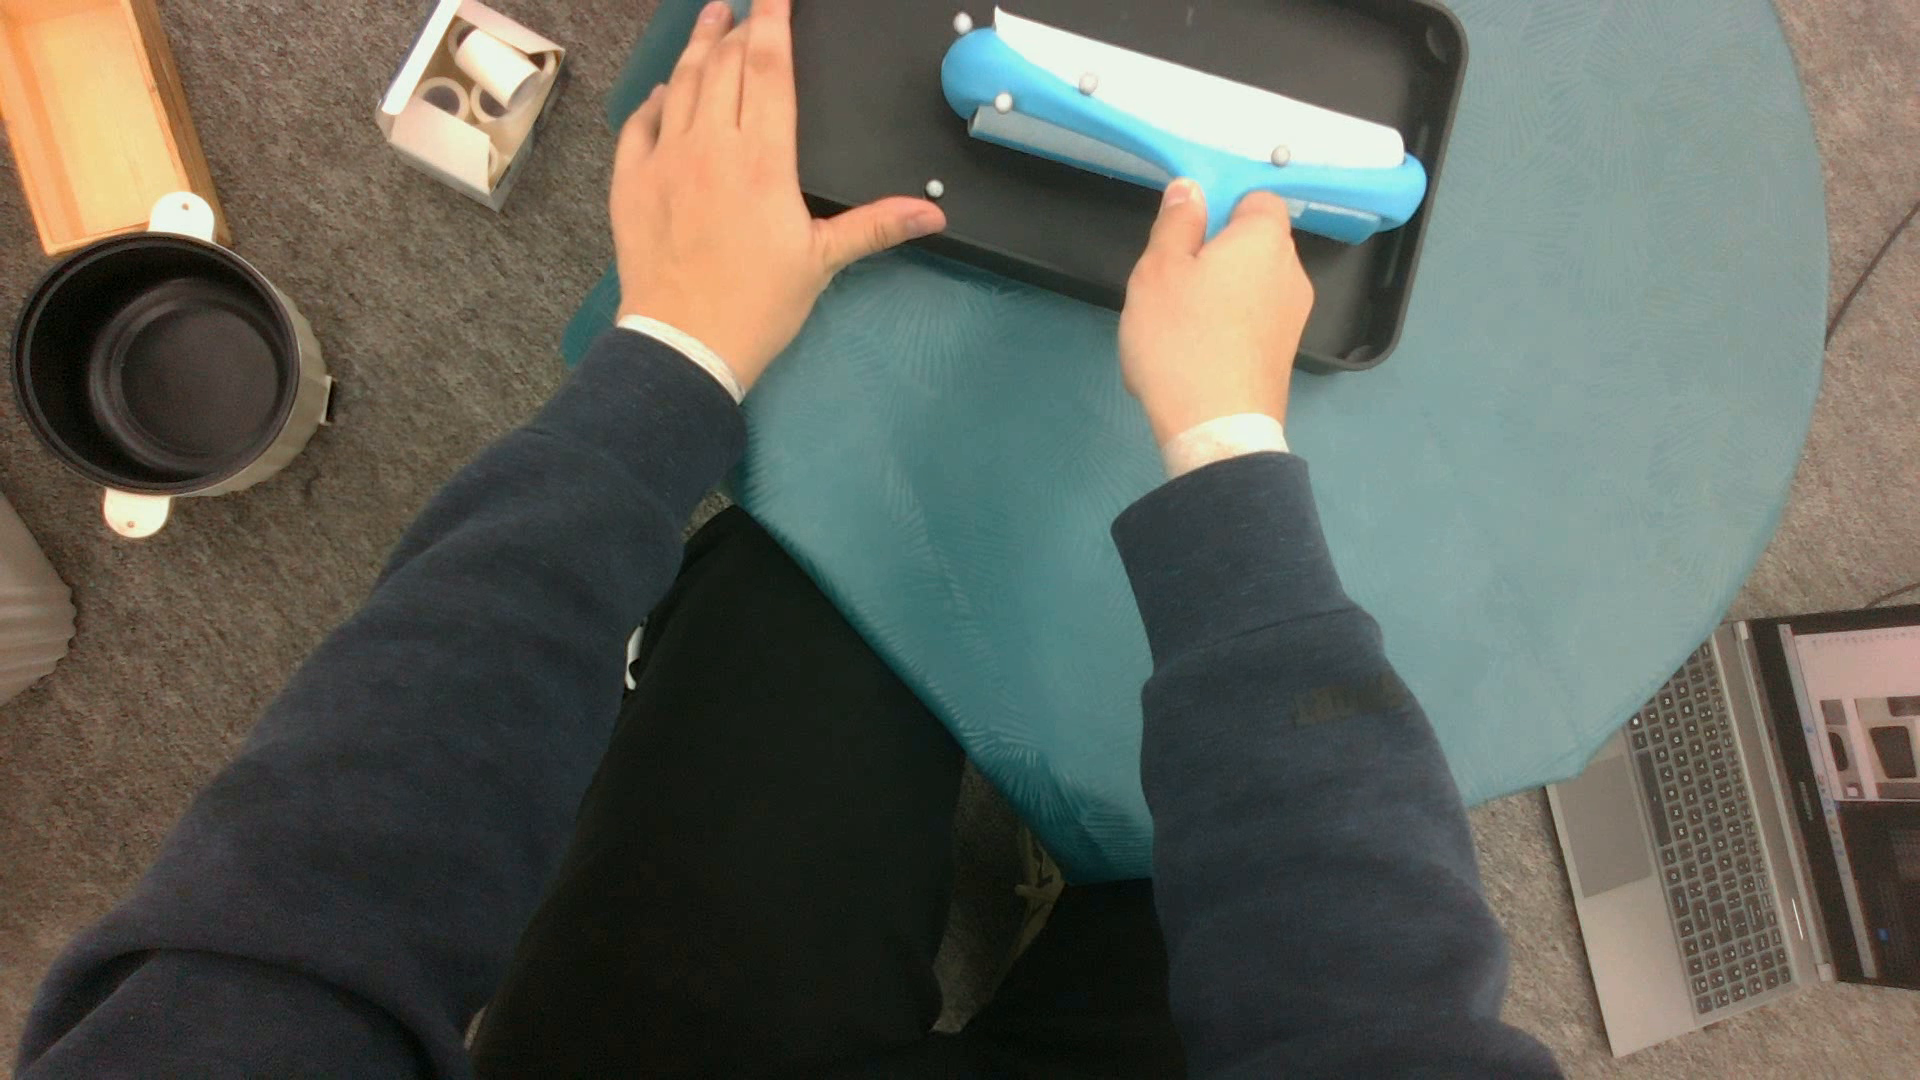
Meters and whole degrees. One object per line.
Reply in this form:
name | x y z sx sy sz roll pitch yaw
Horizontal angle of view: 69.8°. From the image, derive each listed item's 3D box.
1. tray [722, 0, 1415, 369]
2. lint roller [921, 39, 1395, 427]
tray | 0.058 -0.203 0.659 0.318 0.037 0.184 13 84 -12
lint roller | 0.094 -0.138 0.613 0.229 0.067 0.181 9 54 -12
